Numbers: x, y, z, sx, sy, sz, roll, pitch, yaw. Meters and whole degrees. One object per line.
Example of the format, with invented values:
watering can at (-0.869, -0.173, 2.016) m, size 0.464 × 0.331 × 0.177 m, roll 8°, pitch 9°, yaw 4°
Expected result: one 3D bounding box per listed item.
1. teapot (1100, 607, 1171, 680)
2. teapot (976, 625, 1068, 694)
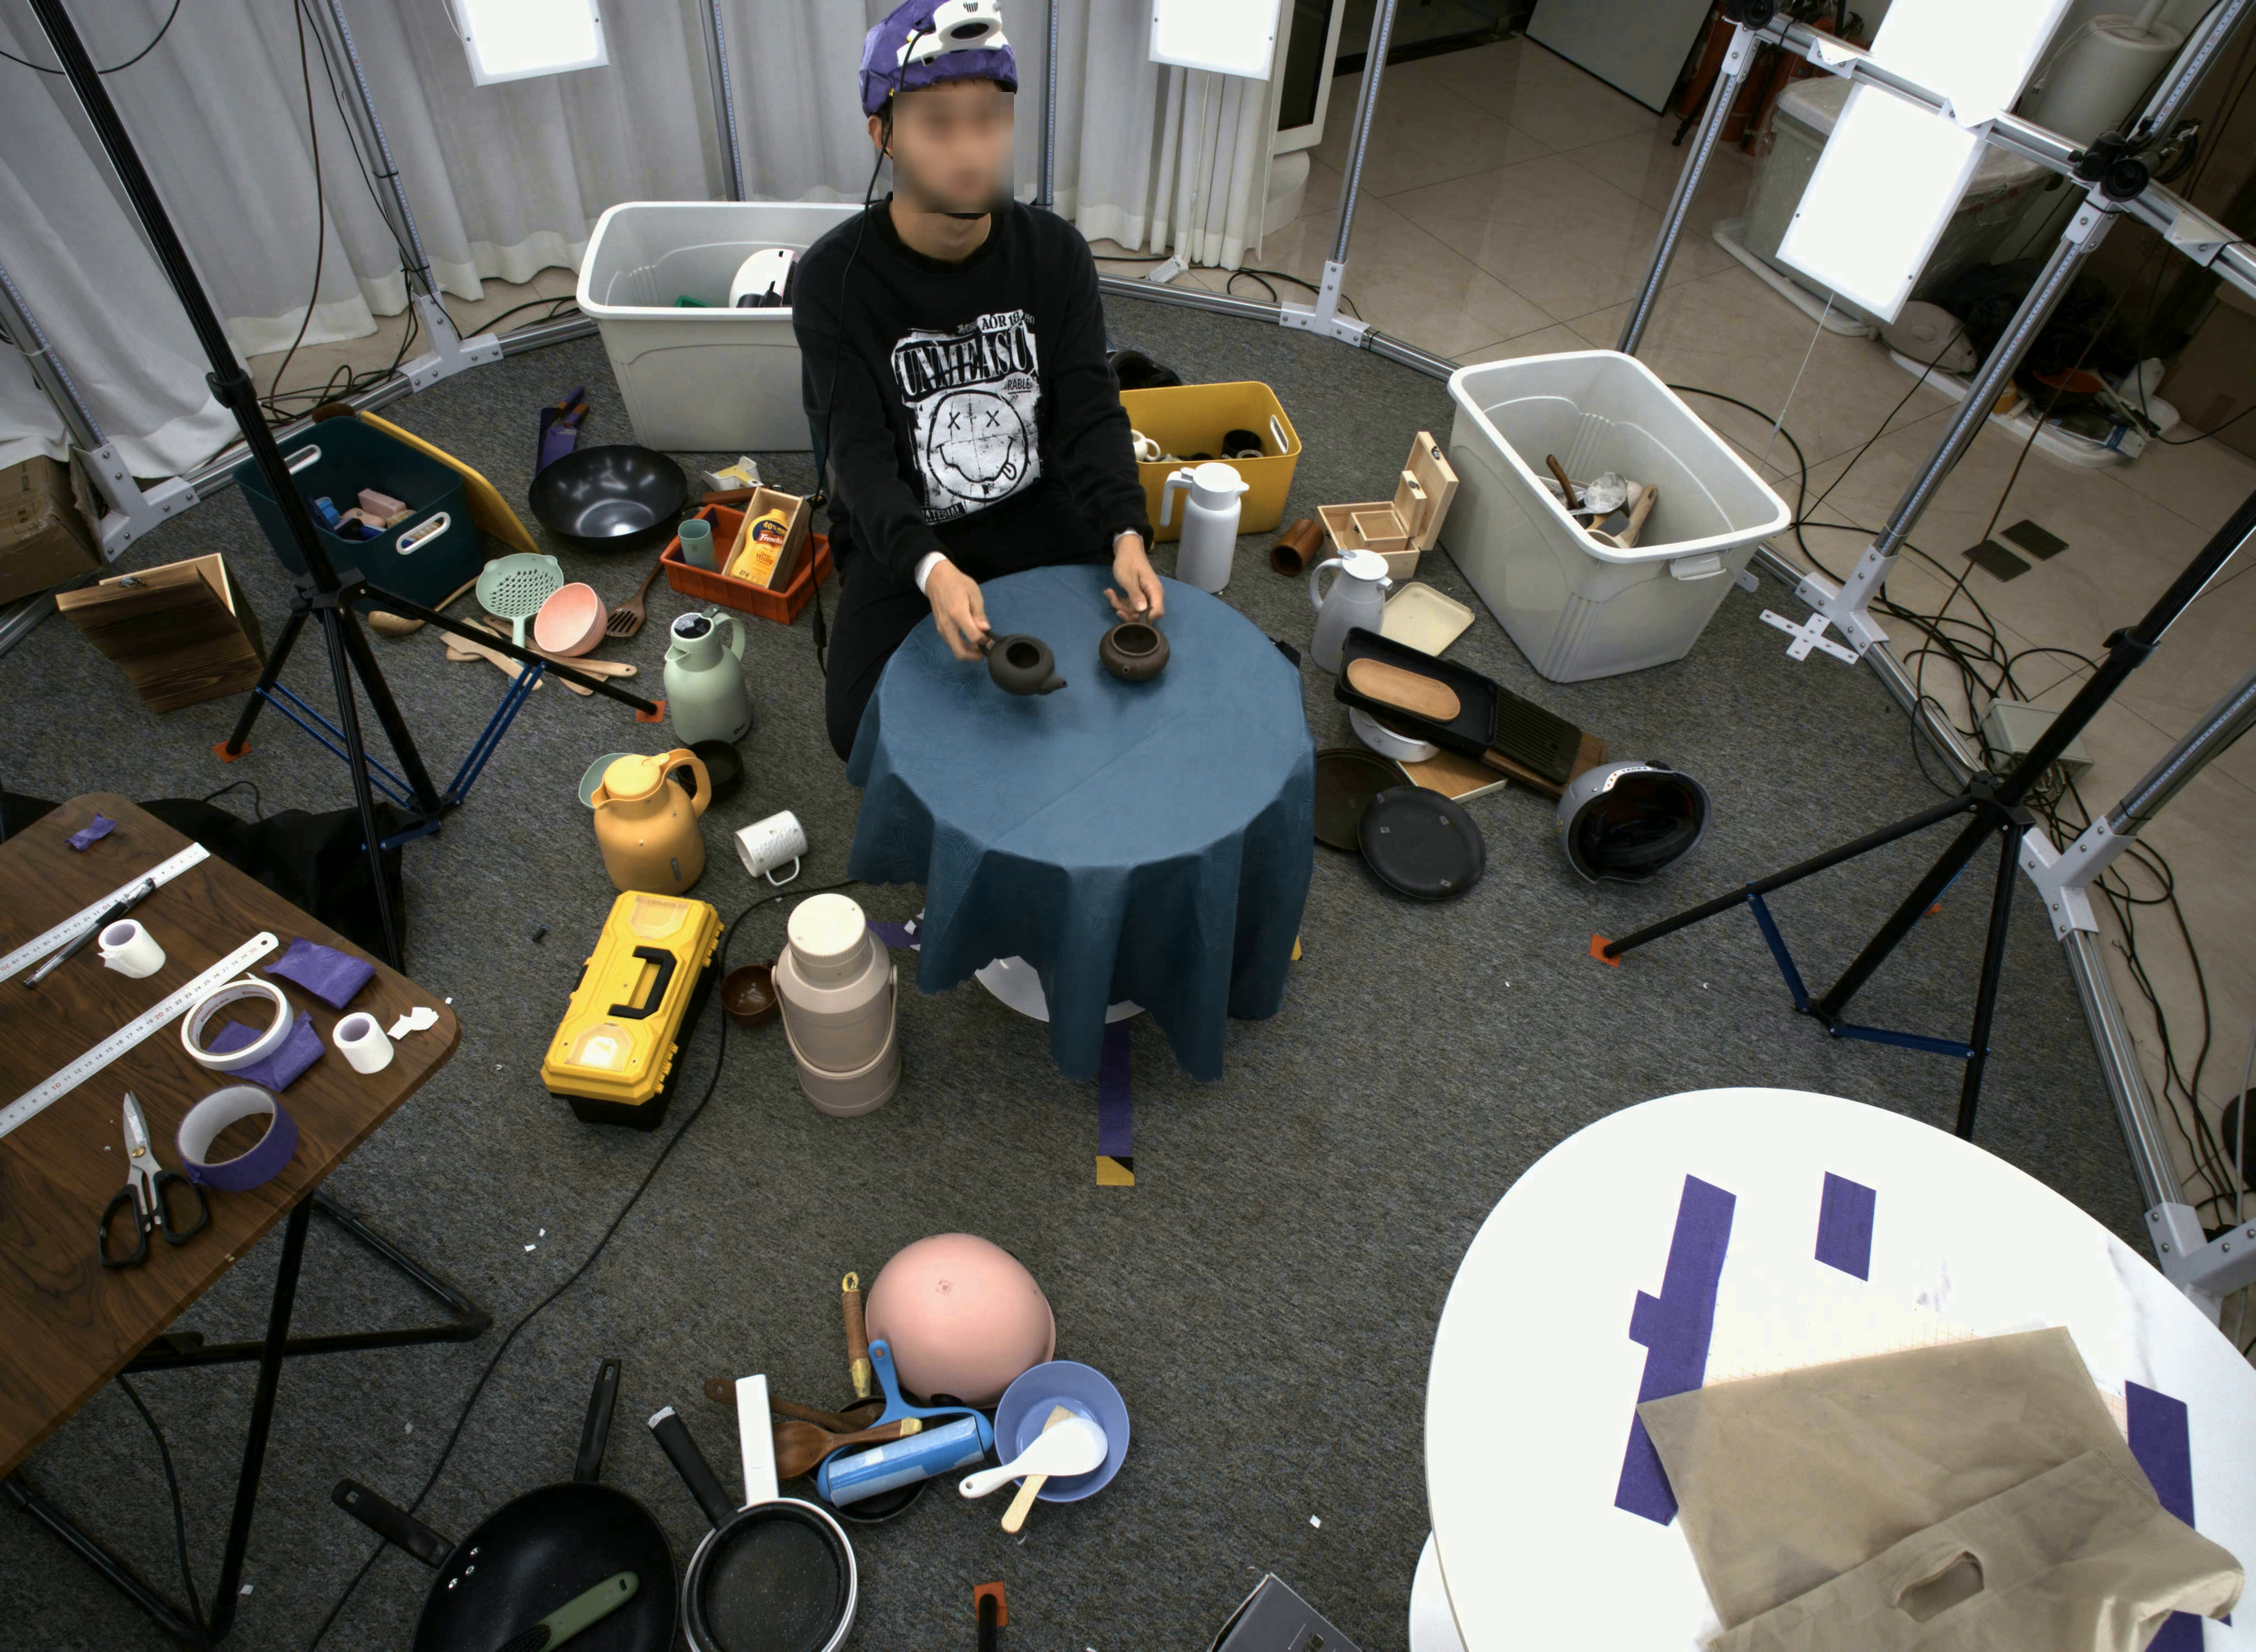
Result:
teapot at (0.011, -0.259, 1.859) m, size 0.102 × 0.052 × 0.157 m, roll 8°, pitch 49°, yaw 1°
teapot at (-0.148, -0.225, 1.771) m, size 0.155 × 0.063 × 0.093 m, roll 36°, pitch 53°, yaw 11°
